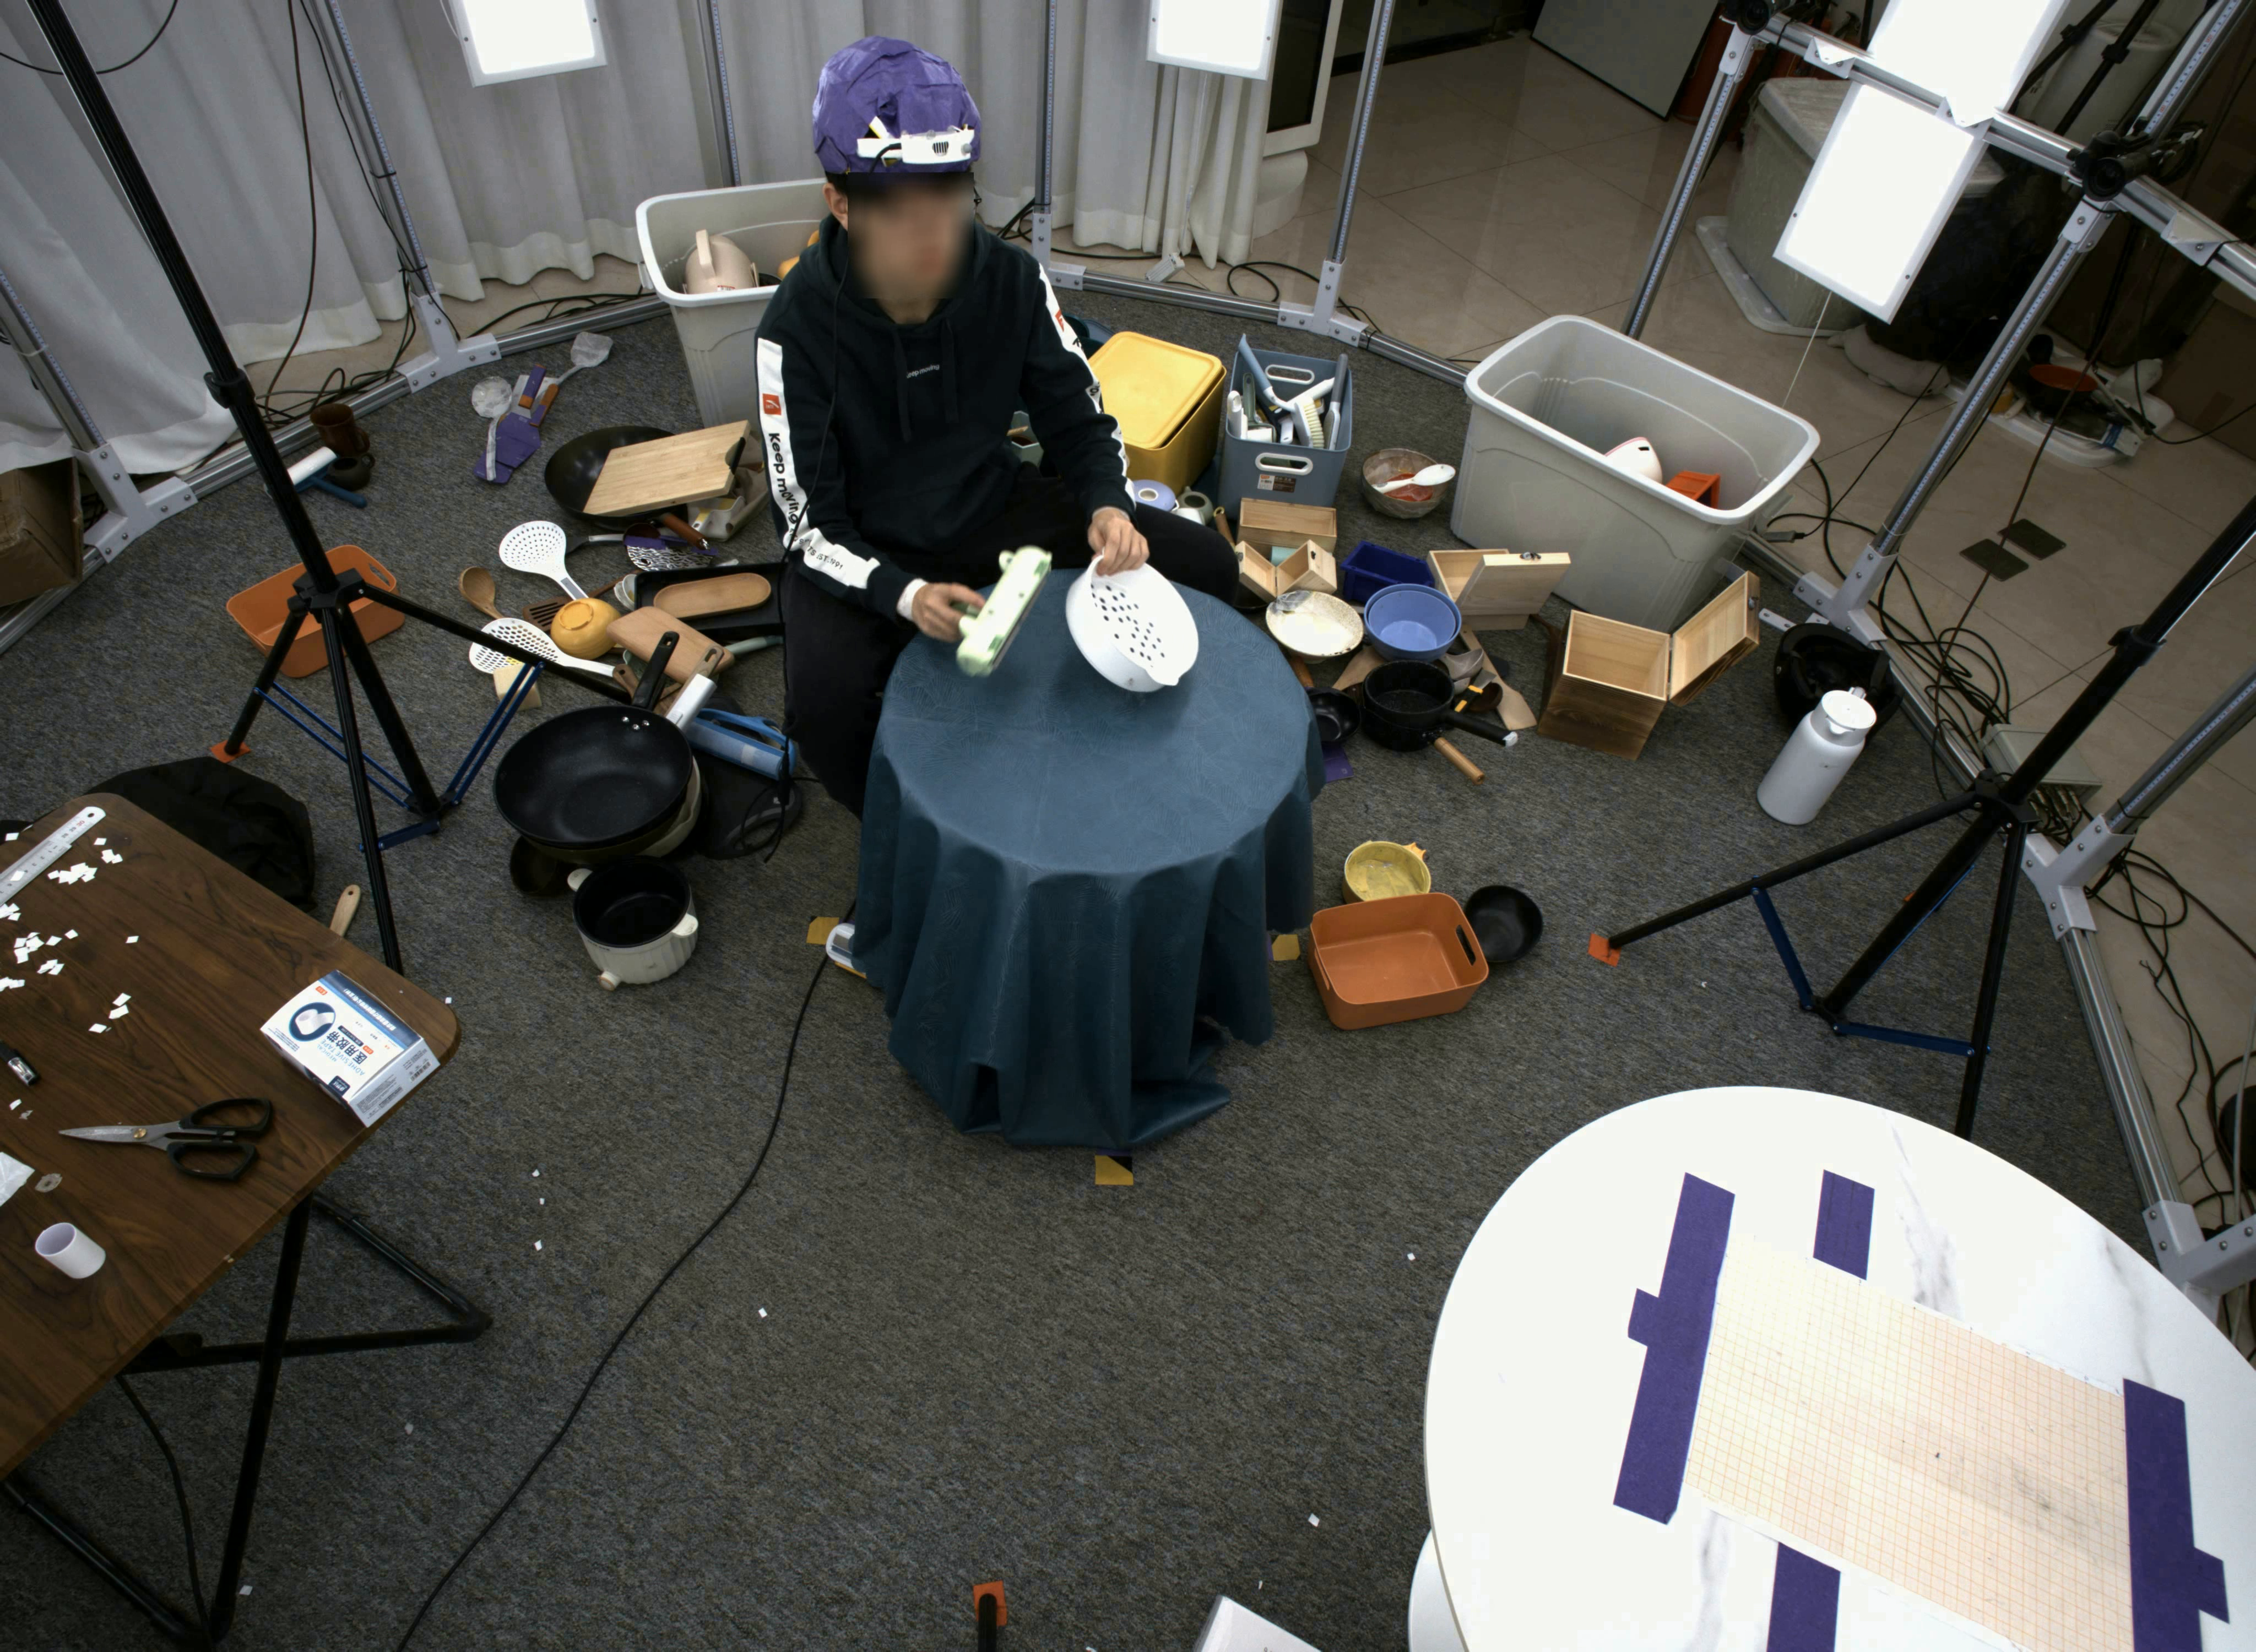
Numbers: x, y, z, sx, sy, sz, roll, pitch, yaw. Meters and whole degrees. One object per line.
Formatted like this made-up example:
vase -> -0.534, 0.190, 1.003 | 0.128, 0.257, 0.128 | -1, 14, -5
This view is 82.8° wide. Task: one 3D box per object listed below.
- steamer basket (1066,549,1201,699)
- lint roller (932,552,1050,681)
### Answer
steamer basket -> 0.008, -0.278, 1.814 | 0.201, 0.068, 0.234 | -2, 64, -42
lint roller -> -0.217, -0.297, 1.770 | 0.185, 0.080, 0.201 | 10, 60, 36
